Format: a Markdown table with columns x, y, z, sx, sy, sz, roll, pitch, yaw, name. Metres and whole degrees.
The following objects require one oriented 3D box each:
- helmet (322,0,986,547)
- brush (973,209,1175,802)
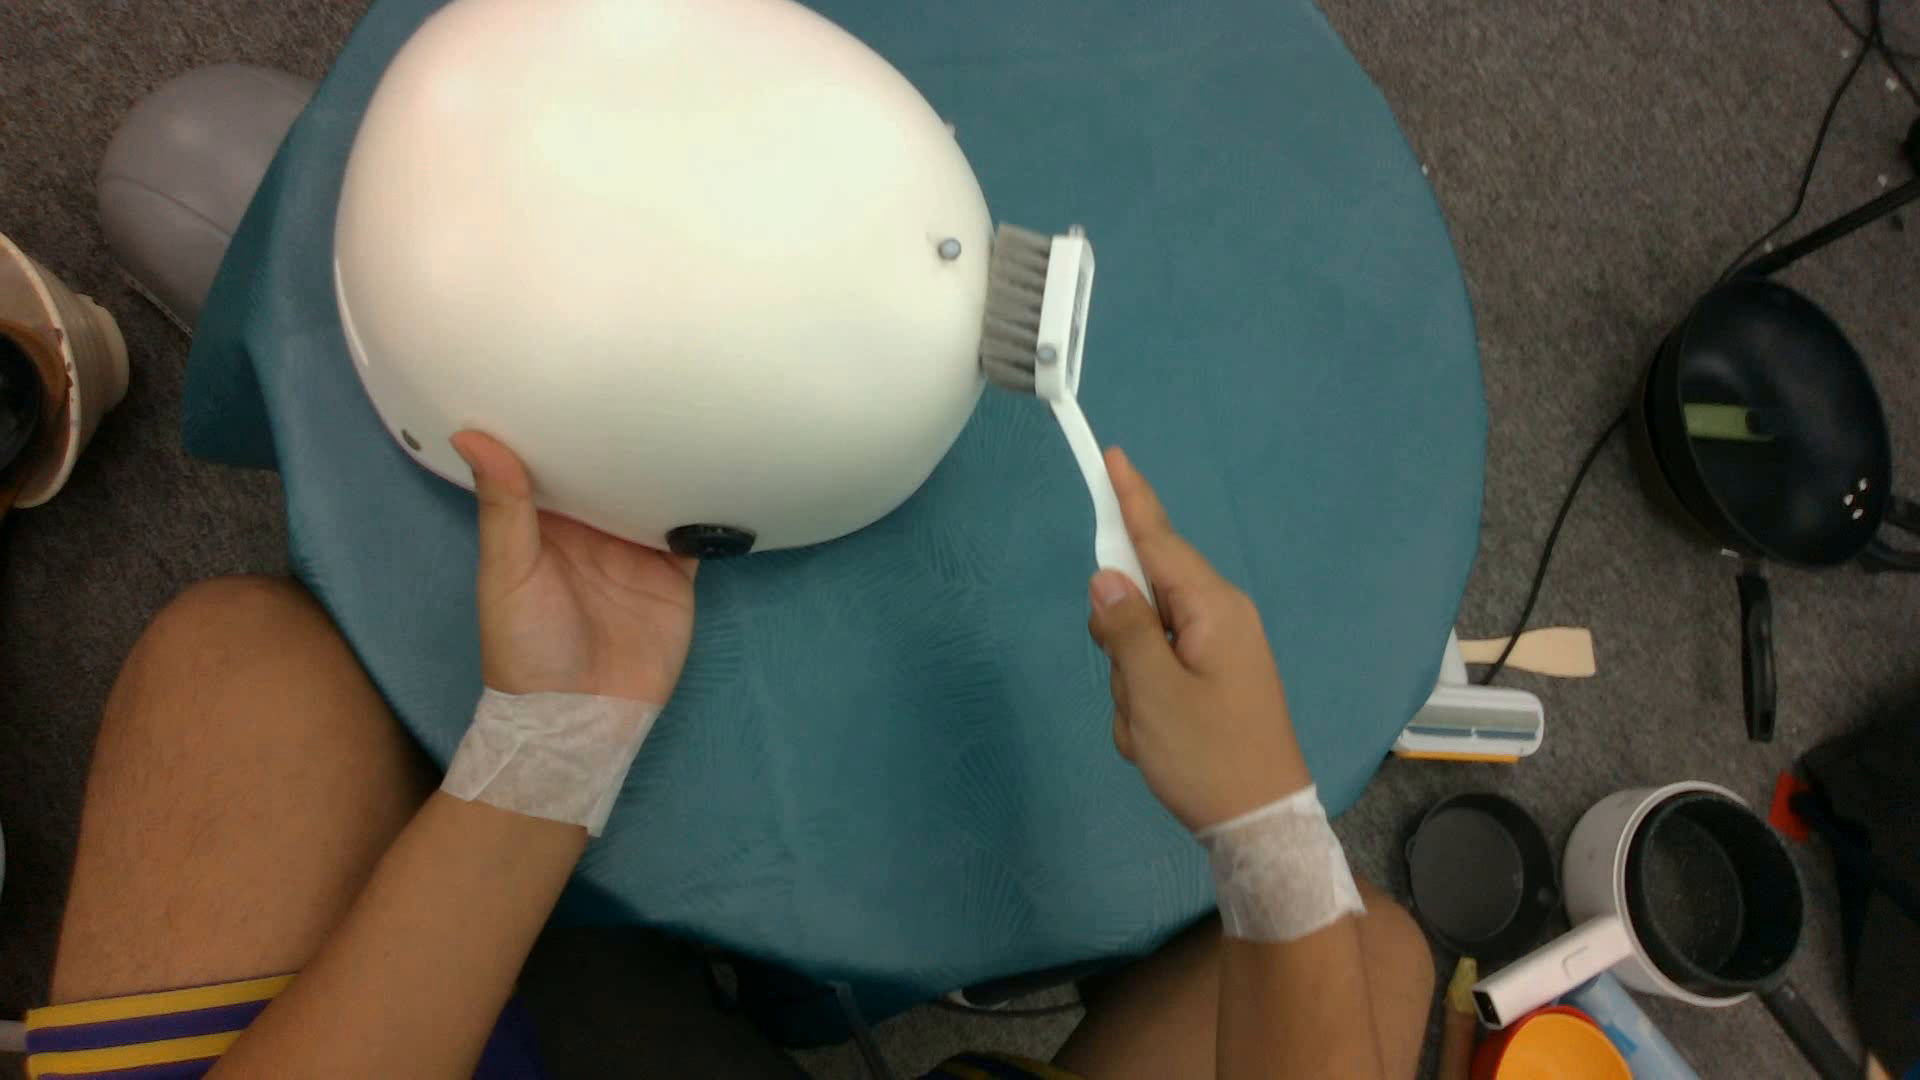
| x | y | z | sx | sy | sz | roll | pitch | yaw | name |
| --- | --- | --- | --- | --- | --- | --- | --- | --- | --- |
| -0.107 | -0.124 | 0.543 | 0.269 | 0.166 | 0.238 | 11 | 72 | -16 | helmet |
| 0.041 | -0.016 | 0.545 | 0.050 | 0.034 | 0.244 | -11 | 80 | 12 | brush |
